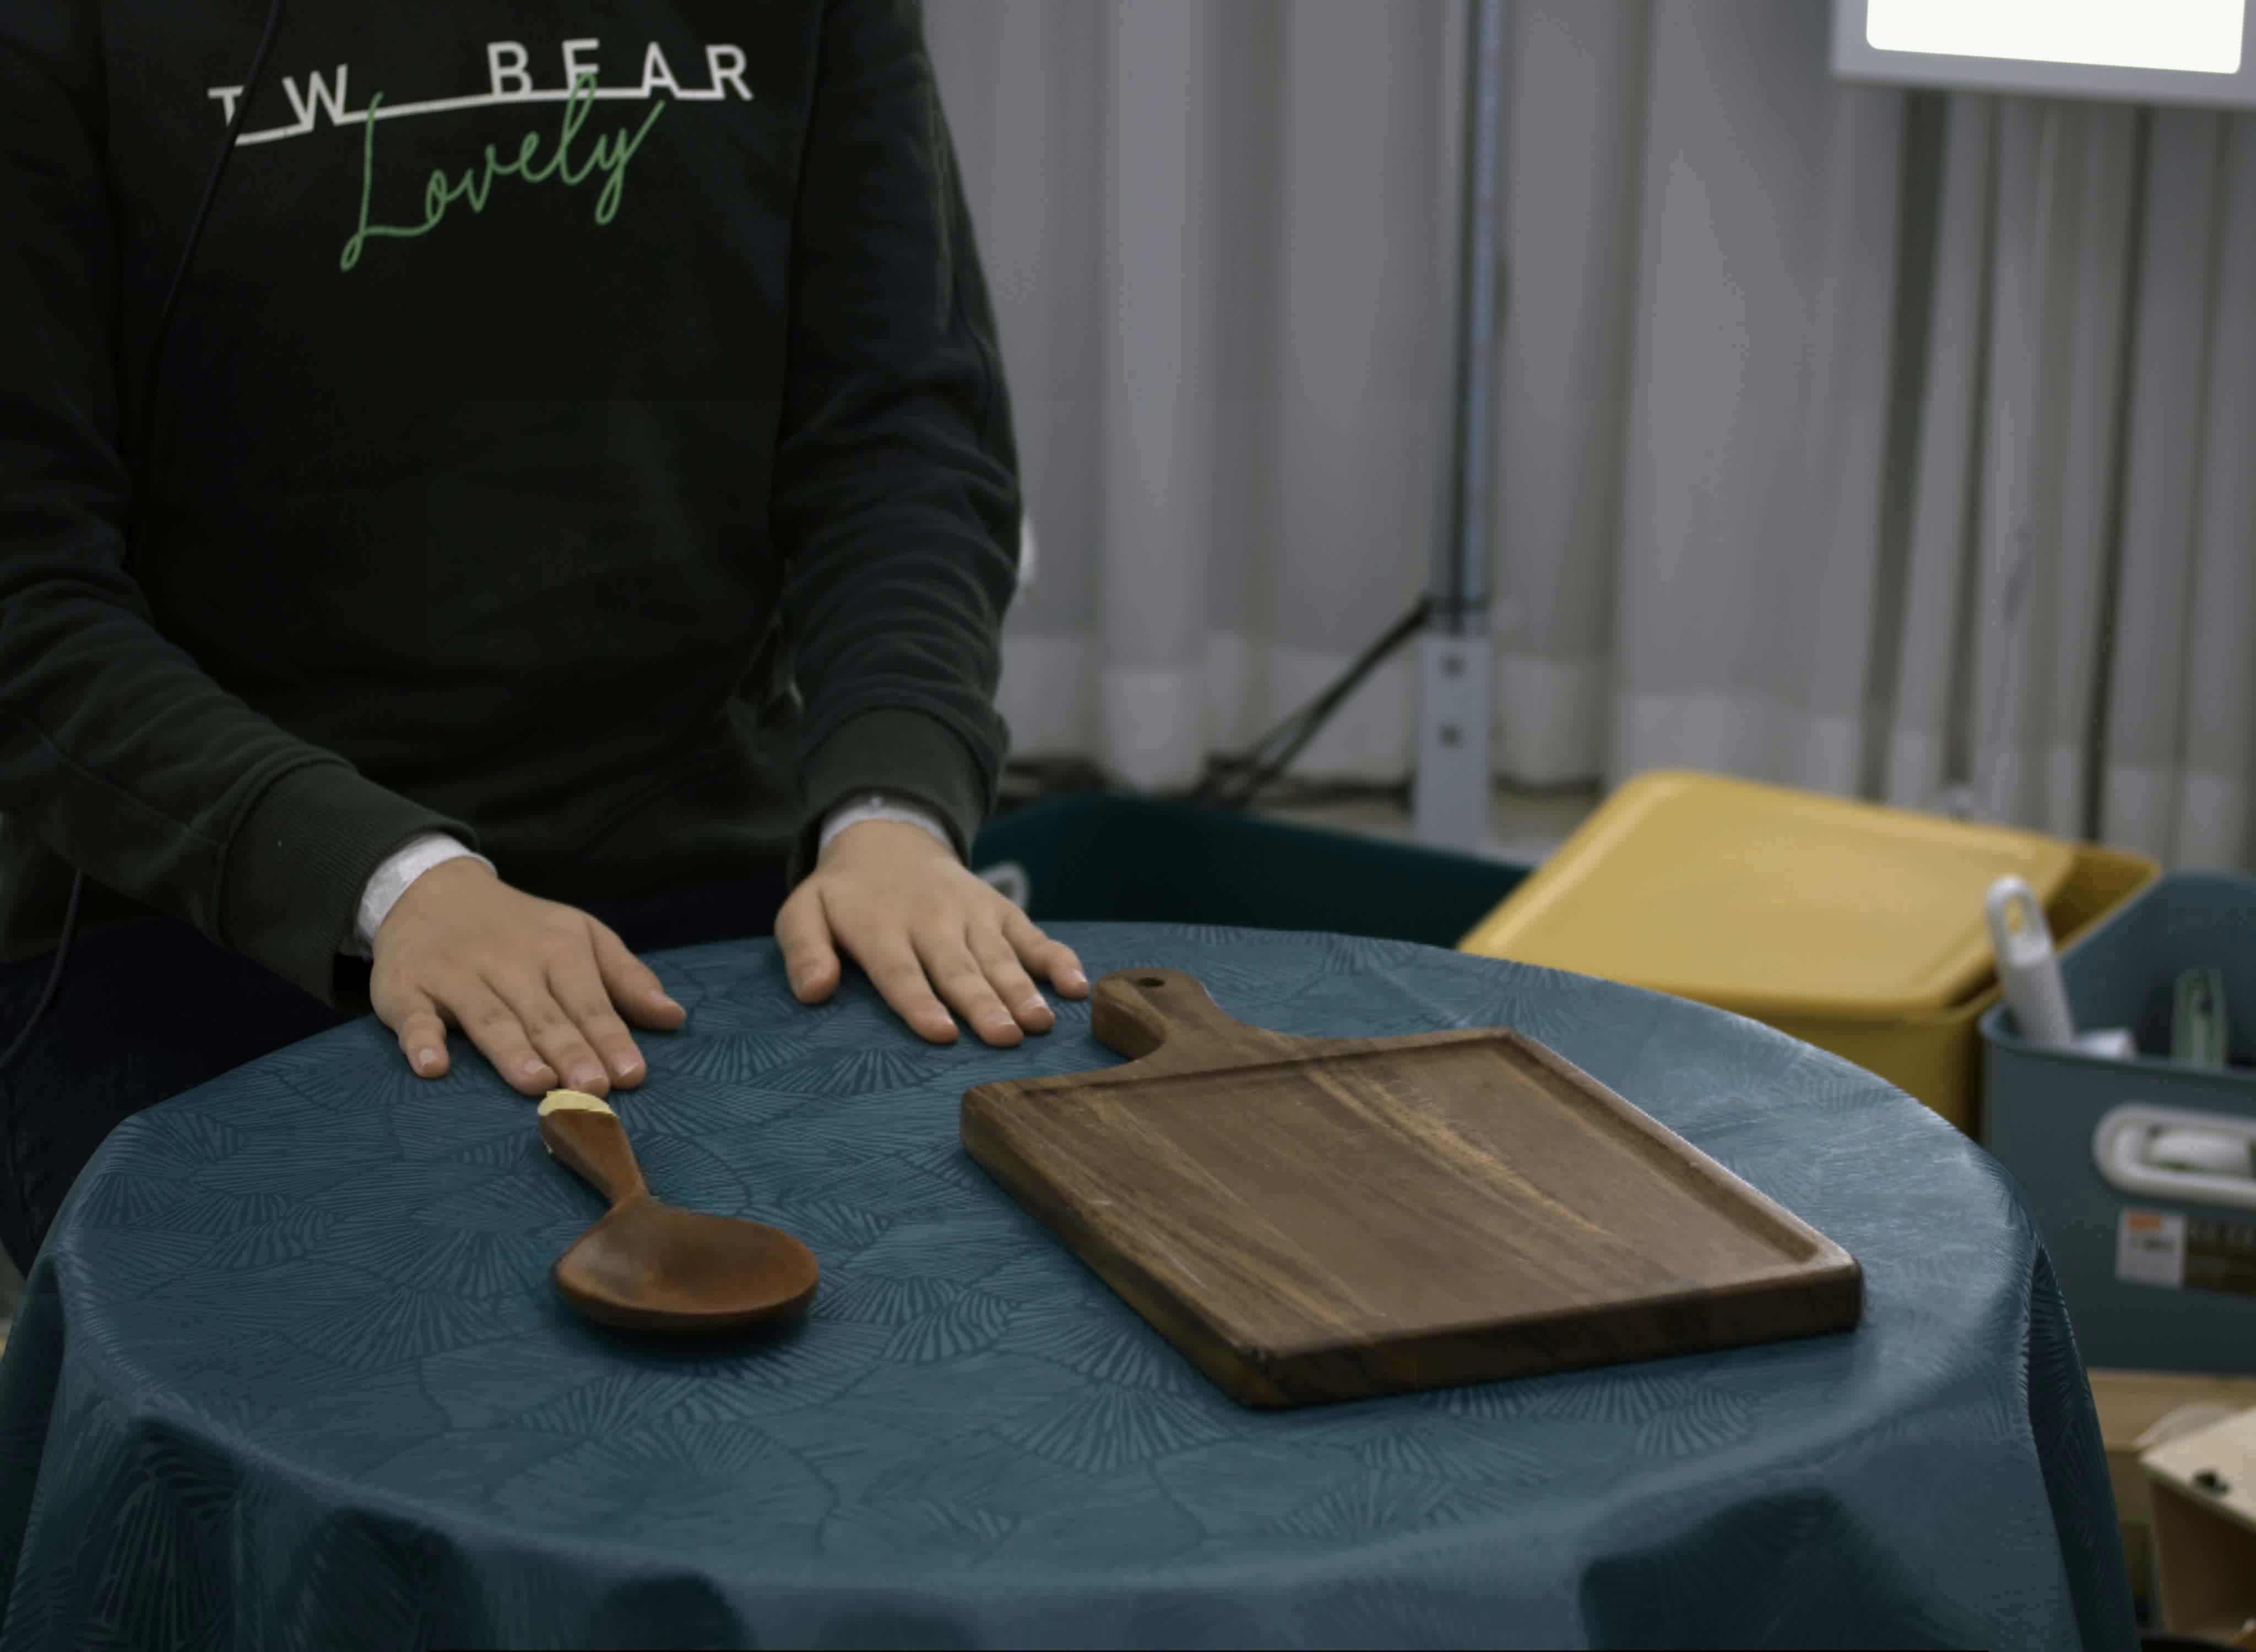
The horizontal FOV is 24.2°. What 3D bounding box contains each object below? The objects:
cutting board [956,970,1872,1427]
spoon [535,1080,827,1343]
[{"bbox_3d":[0.063,0.103,1.634,0.201,0.023,0.348,-7,17,-20],"label":"cutting board"},{"bbox_3d":[-0.144,0.116,1.576,0.075,0.017,0.213,-6,18,-17],"label":"spoon"}]
